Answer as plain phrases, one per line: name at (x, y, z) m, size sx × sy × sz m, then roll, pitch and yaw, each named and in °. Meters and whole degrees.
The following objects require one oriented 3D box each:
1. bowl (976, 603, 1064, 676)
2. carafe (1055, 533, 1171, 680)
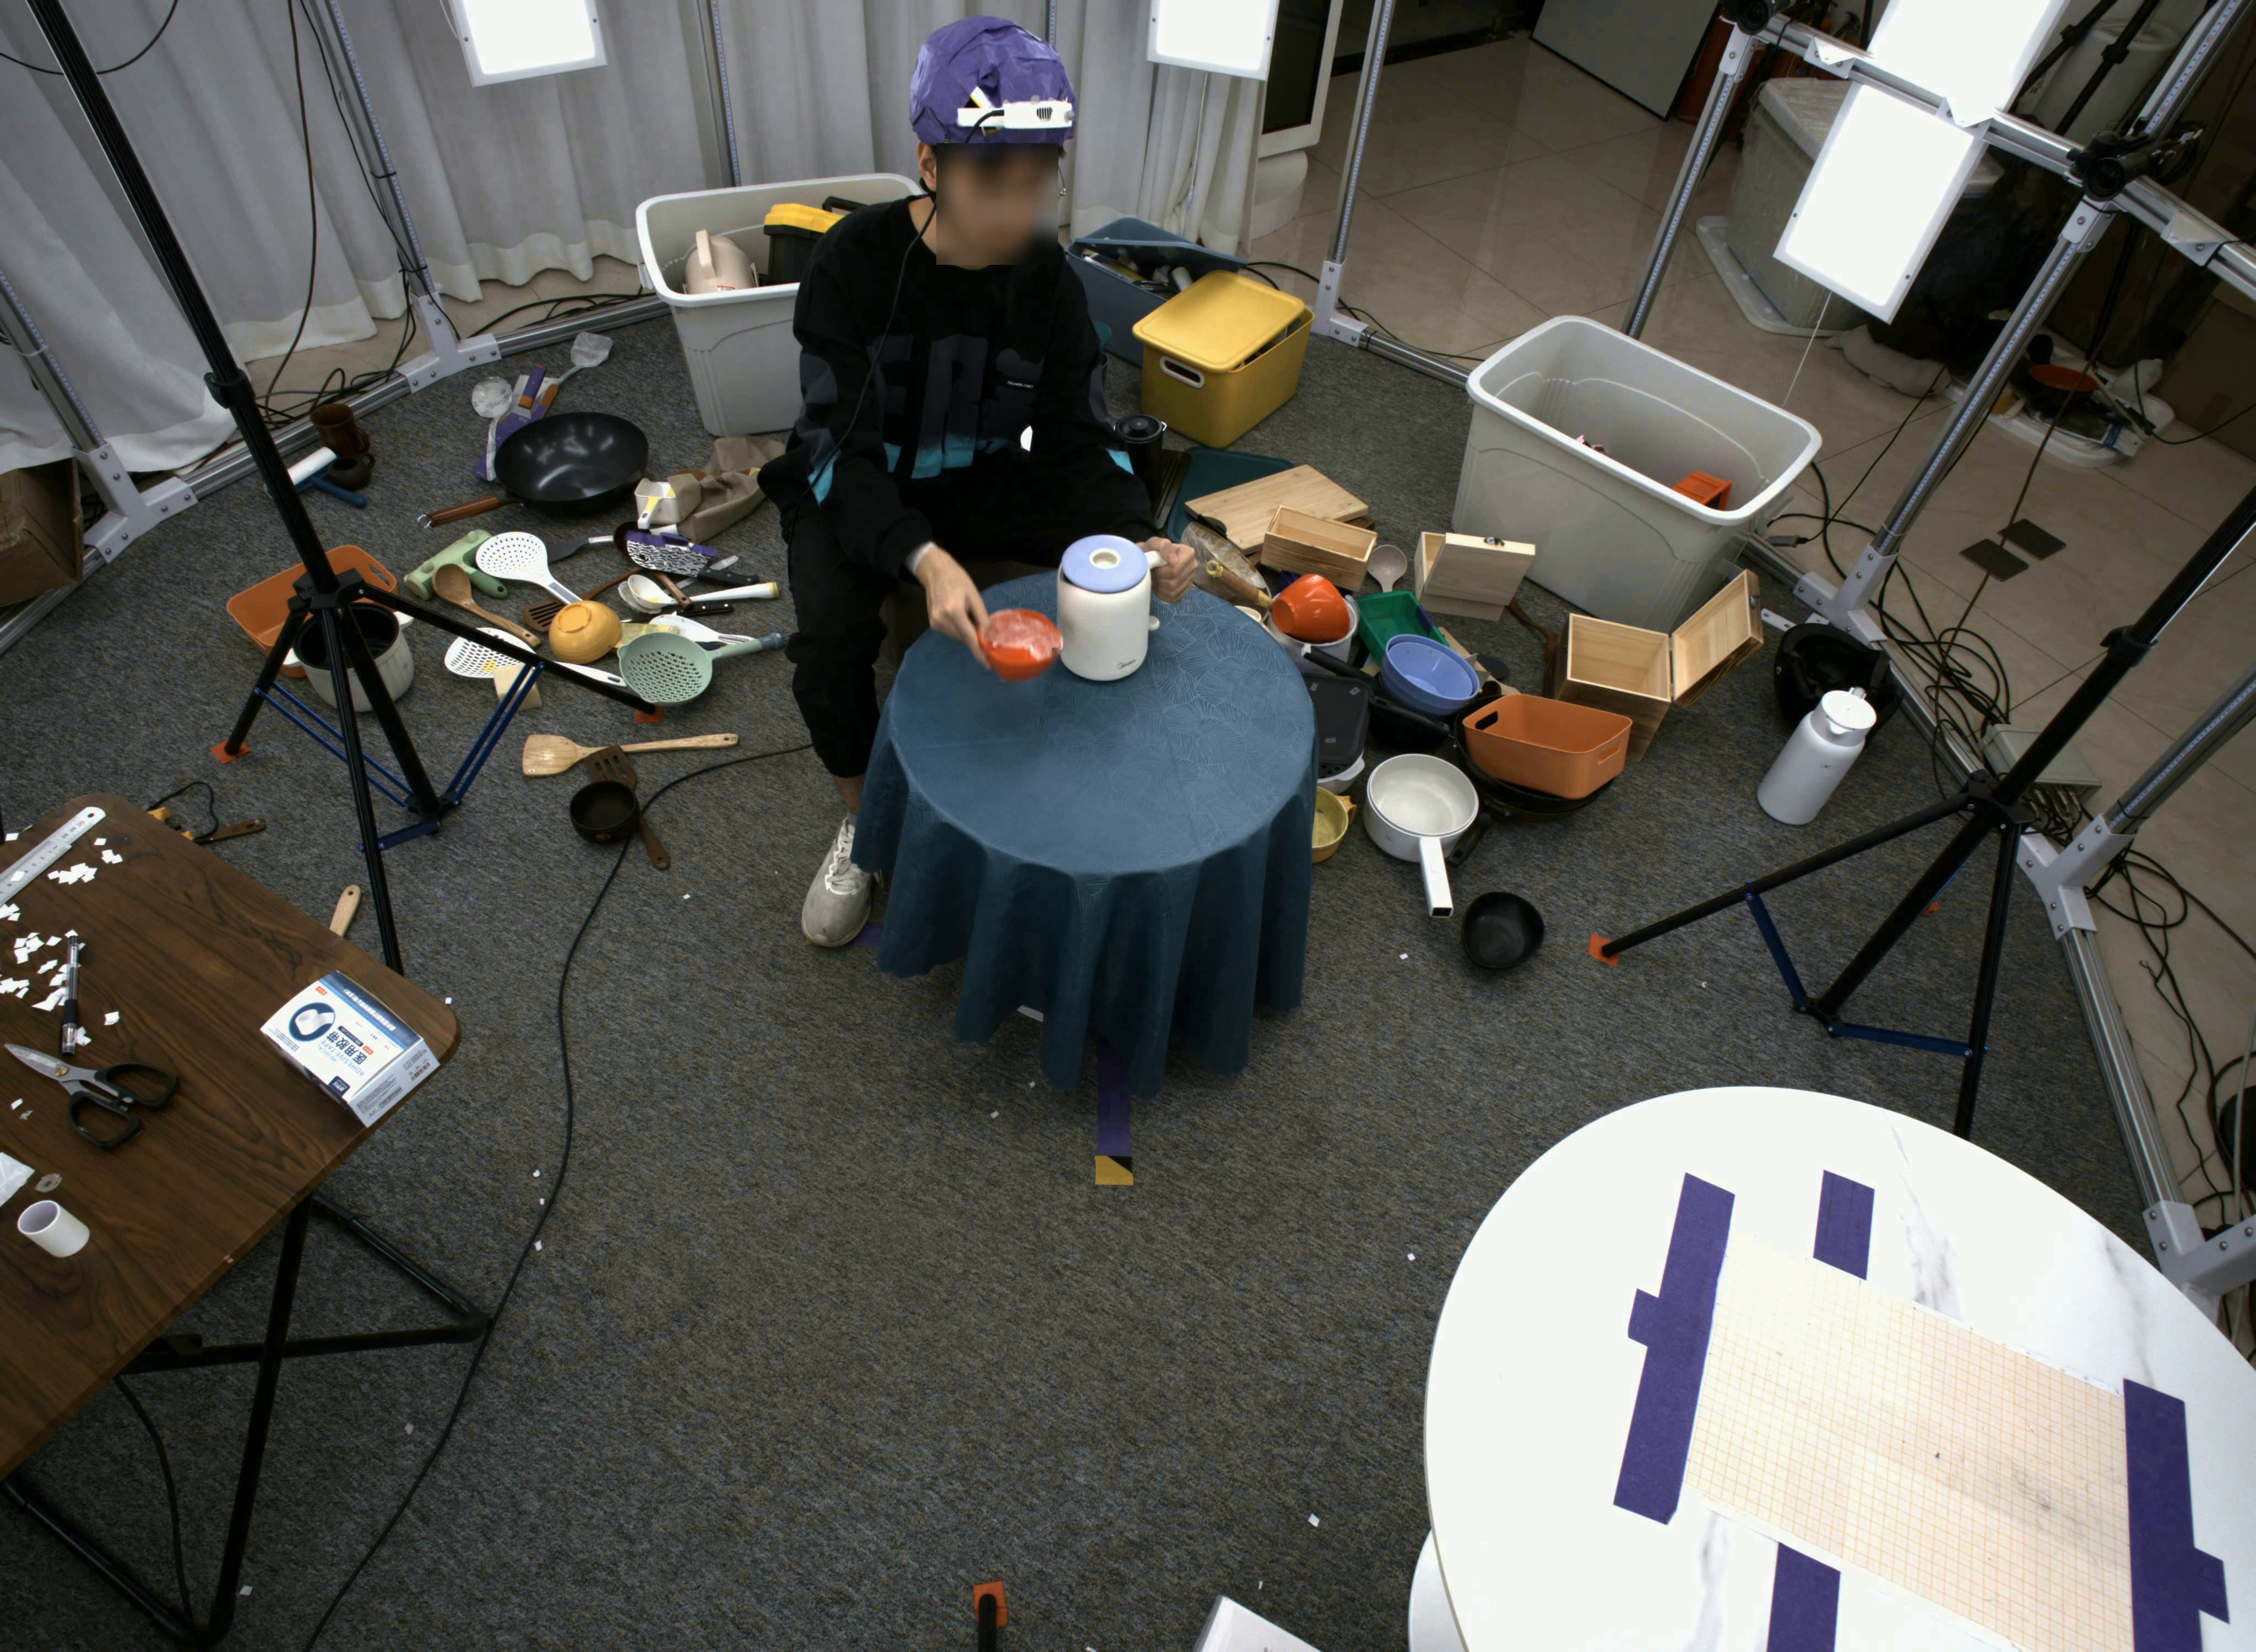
bowl at (-0.147, -0.244, 1.724) m, size 0.118 × 0.050 × 0.122 m, roll 6°, pitch 46°, yaw -6°
carafe at (-0.016, -0.319, 1.827) m, size 0.192 × 0.178 × 0.135 m, roll -25°, pitch 56°, yaw -24°
